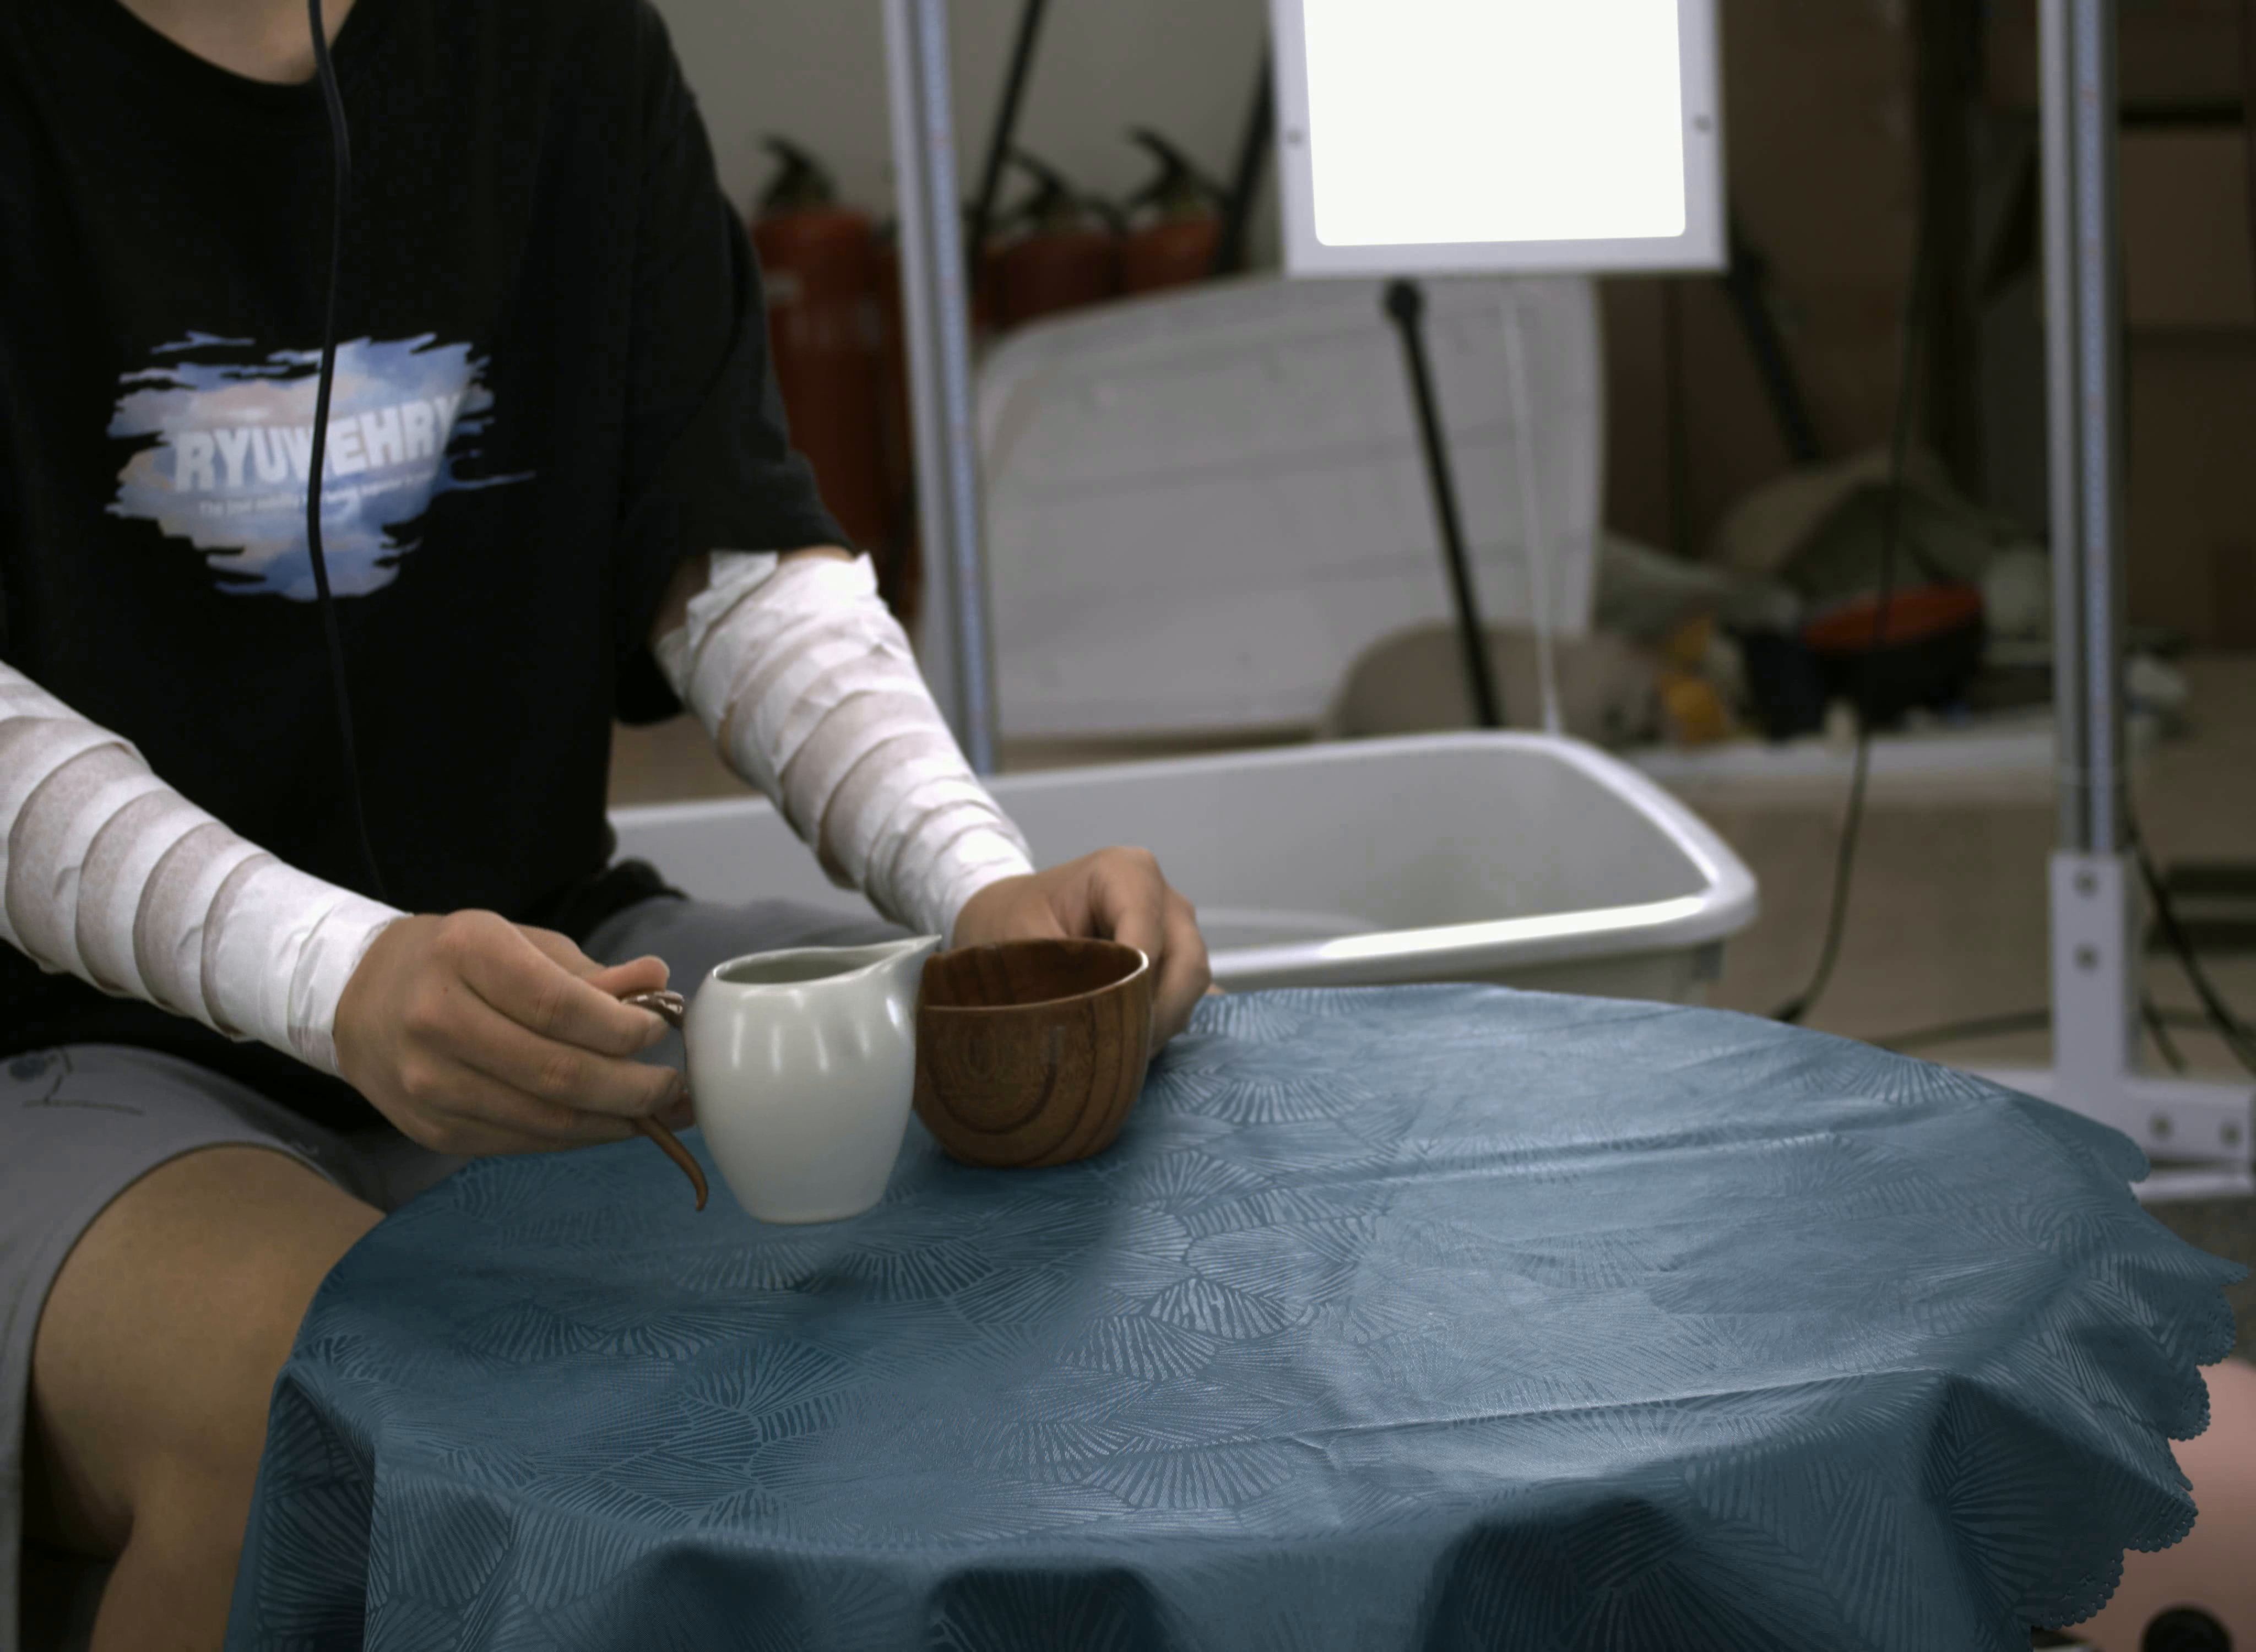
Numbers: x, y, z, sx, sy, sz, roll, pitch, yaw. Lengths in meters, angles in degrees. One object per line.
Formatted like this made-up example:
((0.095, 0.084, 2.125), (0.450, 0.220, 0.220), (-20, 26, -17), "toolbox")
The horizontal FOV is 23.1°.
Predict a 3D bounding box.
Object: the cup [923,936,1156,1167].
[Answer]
((-0.030, 0.079, 1.967), (0.098, 0.068, 0.117), (-2, 12, 27), "cup")

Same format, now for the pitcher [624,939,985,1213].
((-0.107, 0.081, 1.817), (0.118, 0.088, 0.076), (0, 7, -3), "pitcher")
